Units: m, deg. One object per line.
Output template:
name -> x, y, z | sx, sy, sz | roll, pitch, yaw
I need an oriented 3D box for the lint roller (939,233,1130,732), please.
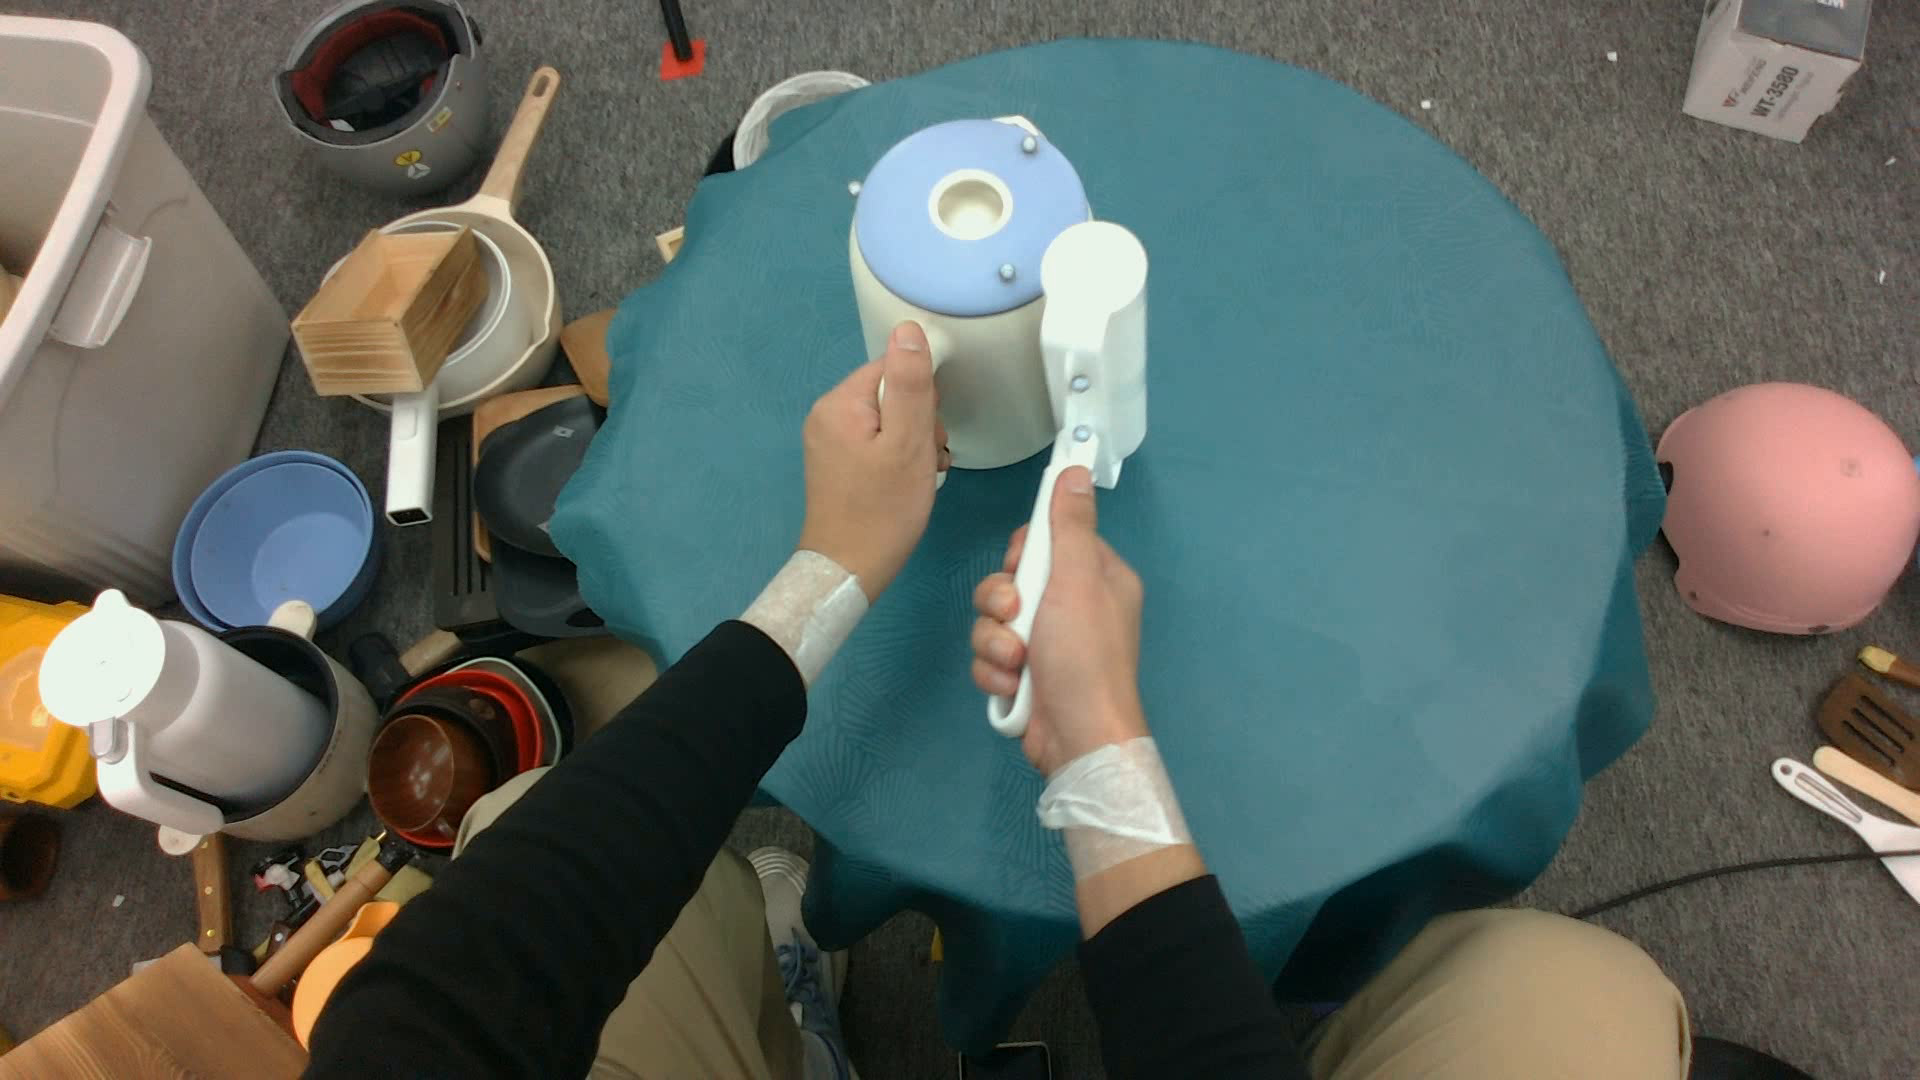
lint roller -> 0.039, -0.012, 0.684 | 0.048, 0.202, 0.226 | 13, 77, 11

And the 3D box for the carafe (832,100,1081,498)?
carafe -> -0.008, -0.117, 0.759 | 0.132, 0.182, 0.191 | 18, 71, 10
